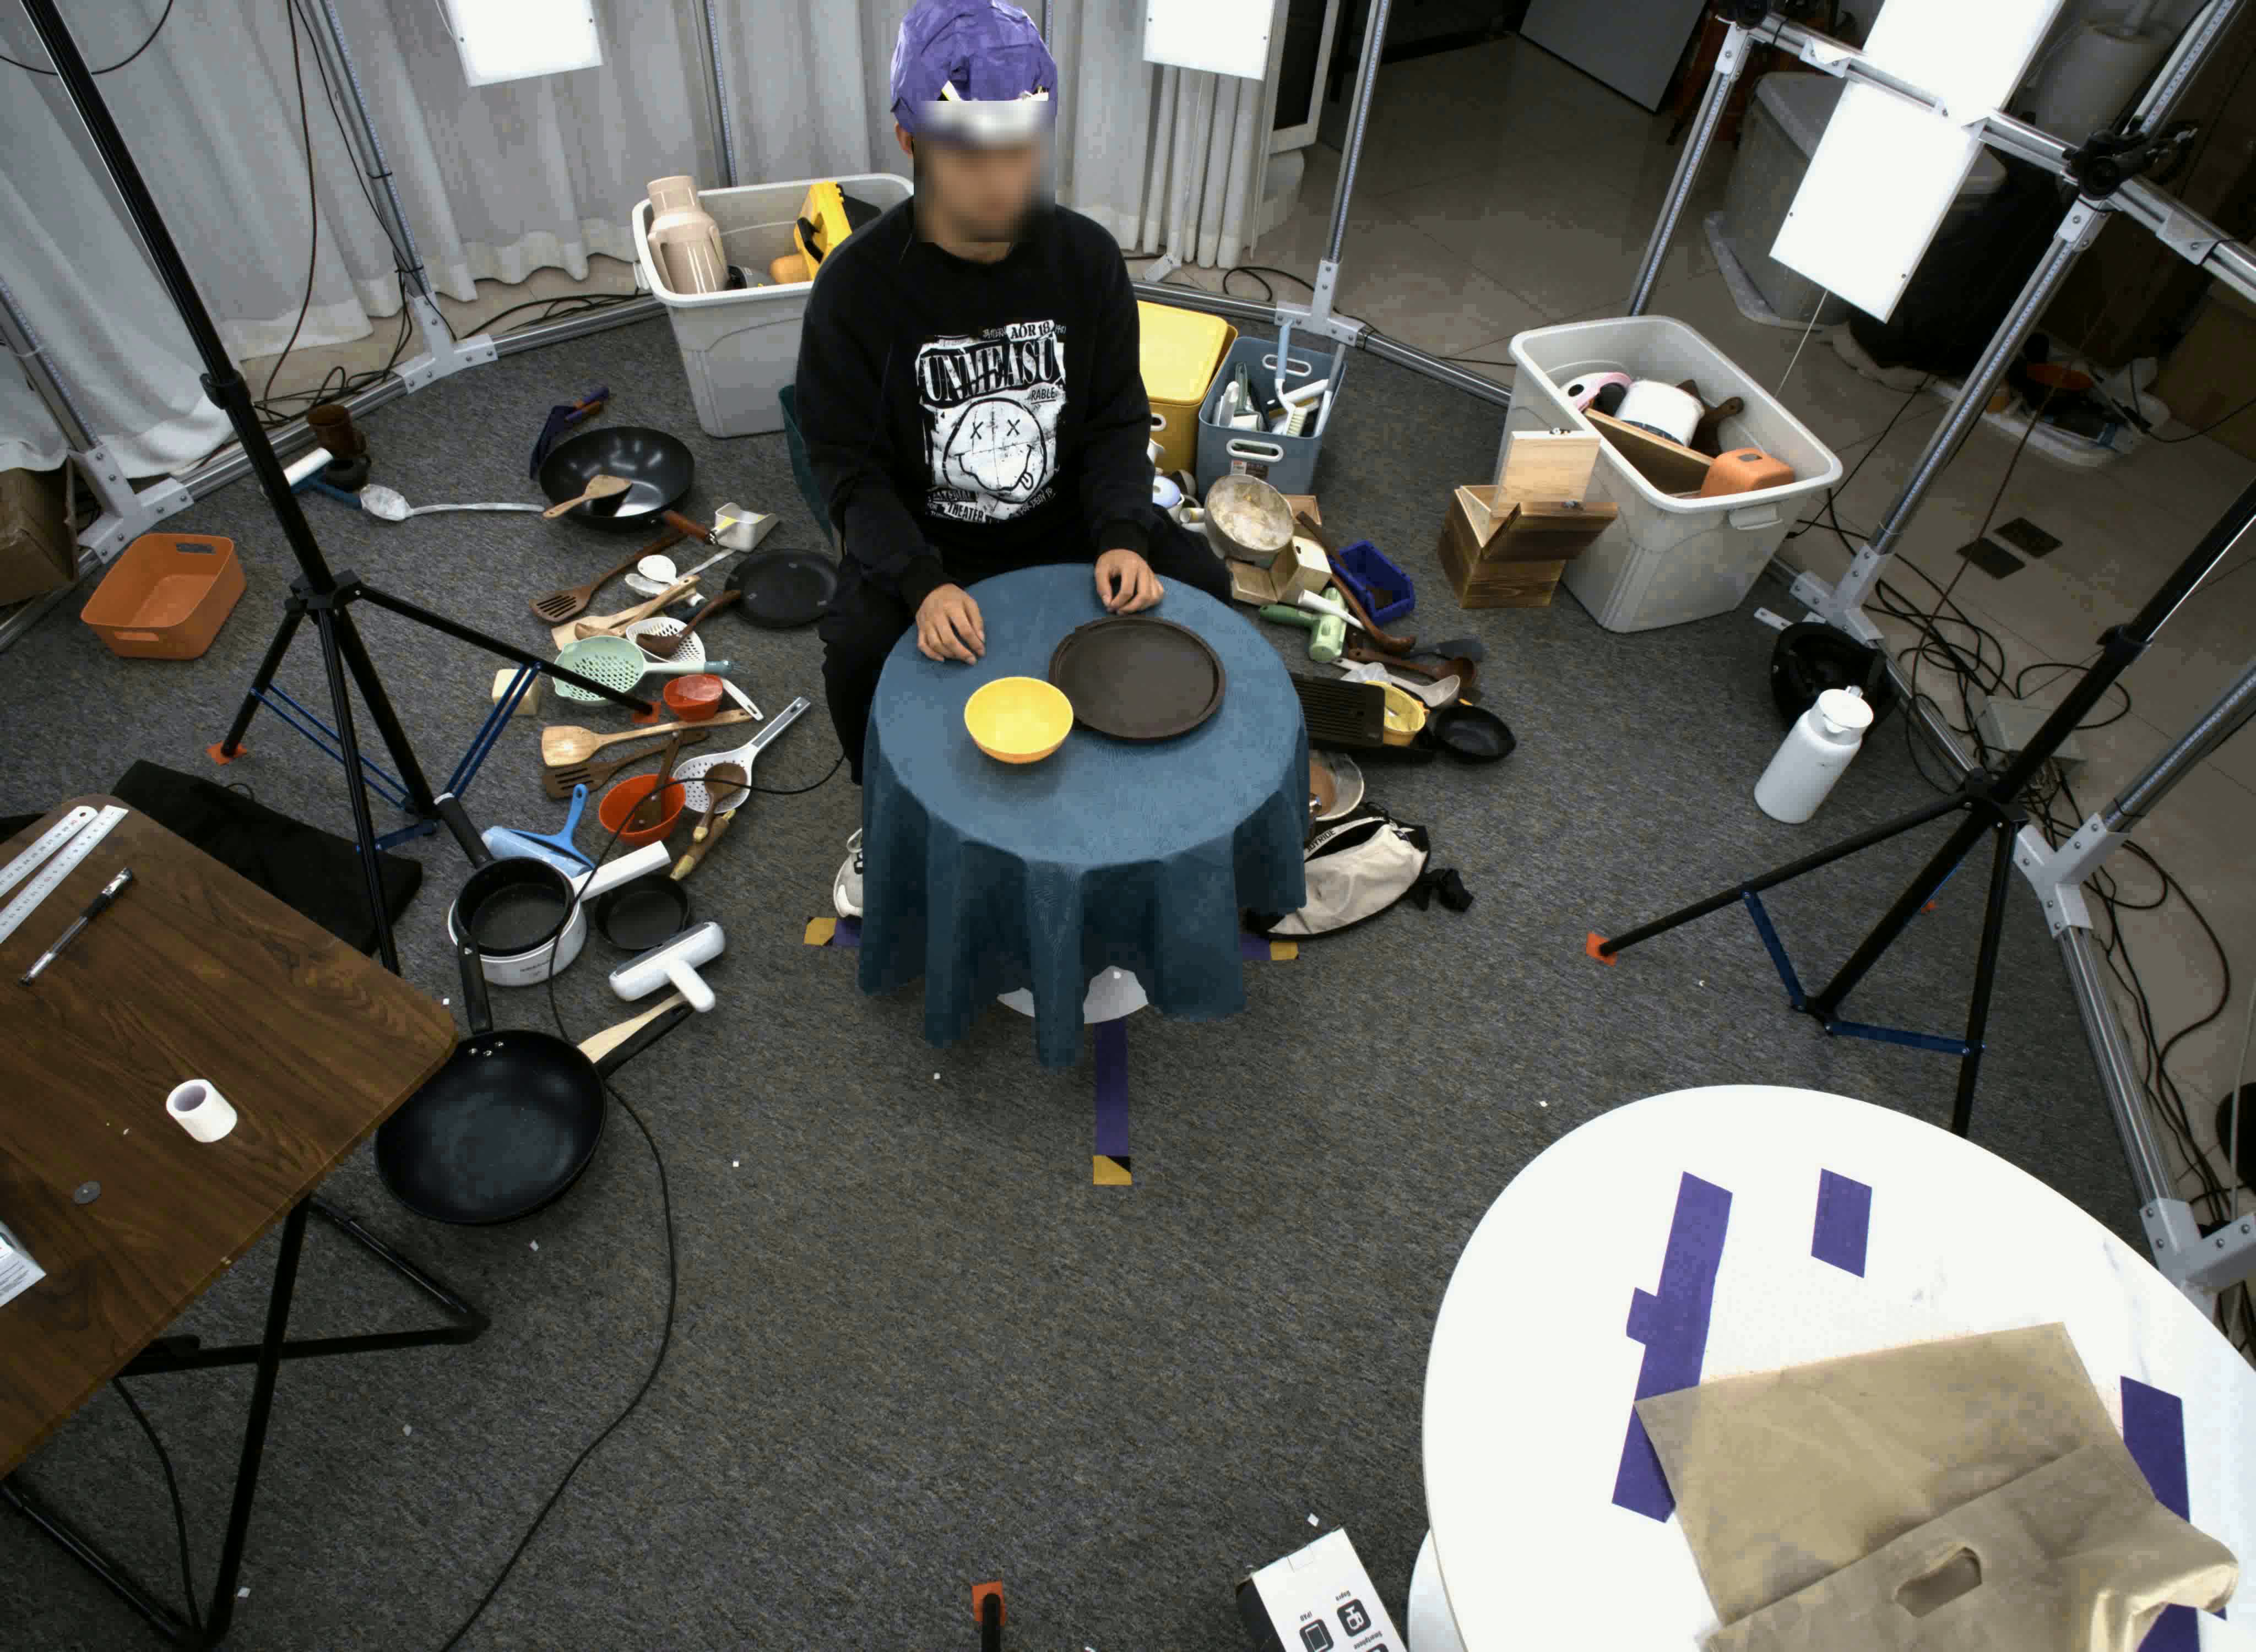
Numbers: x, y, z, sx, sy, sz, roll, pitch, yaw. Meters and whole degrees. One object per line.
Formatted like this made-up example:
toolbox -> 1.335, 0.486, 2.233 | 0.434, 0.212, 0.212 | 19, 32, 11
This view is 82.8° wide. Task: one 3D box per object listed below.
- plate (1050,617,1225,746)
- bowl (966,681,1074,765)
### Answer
plate -> 0.015, -0.211, 1.855 | 0.254, 0.028, 0.261 | 1, 49, -1
bowl -> -0.147, -0.129, 1.750 | 0.145, 0.058, 0.149 | 3, 46, -3
